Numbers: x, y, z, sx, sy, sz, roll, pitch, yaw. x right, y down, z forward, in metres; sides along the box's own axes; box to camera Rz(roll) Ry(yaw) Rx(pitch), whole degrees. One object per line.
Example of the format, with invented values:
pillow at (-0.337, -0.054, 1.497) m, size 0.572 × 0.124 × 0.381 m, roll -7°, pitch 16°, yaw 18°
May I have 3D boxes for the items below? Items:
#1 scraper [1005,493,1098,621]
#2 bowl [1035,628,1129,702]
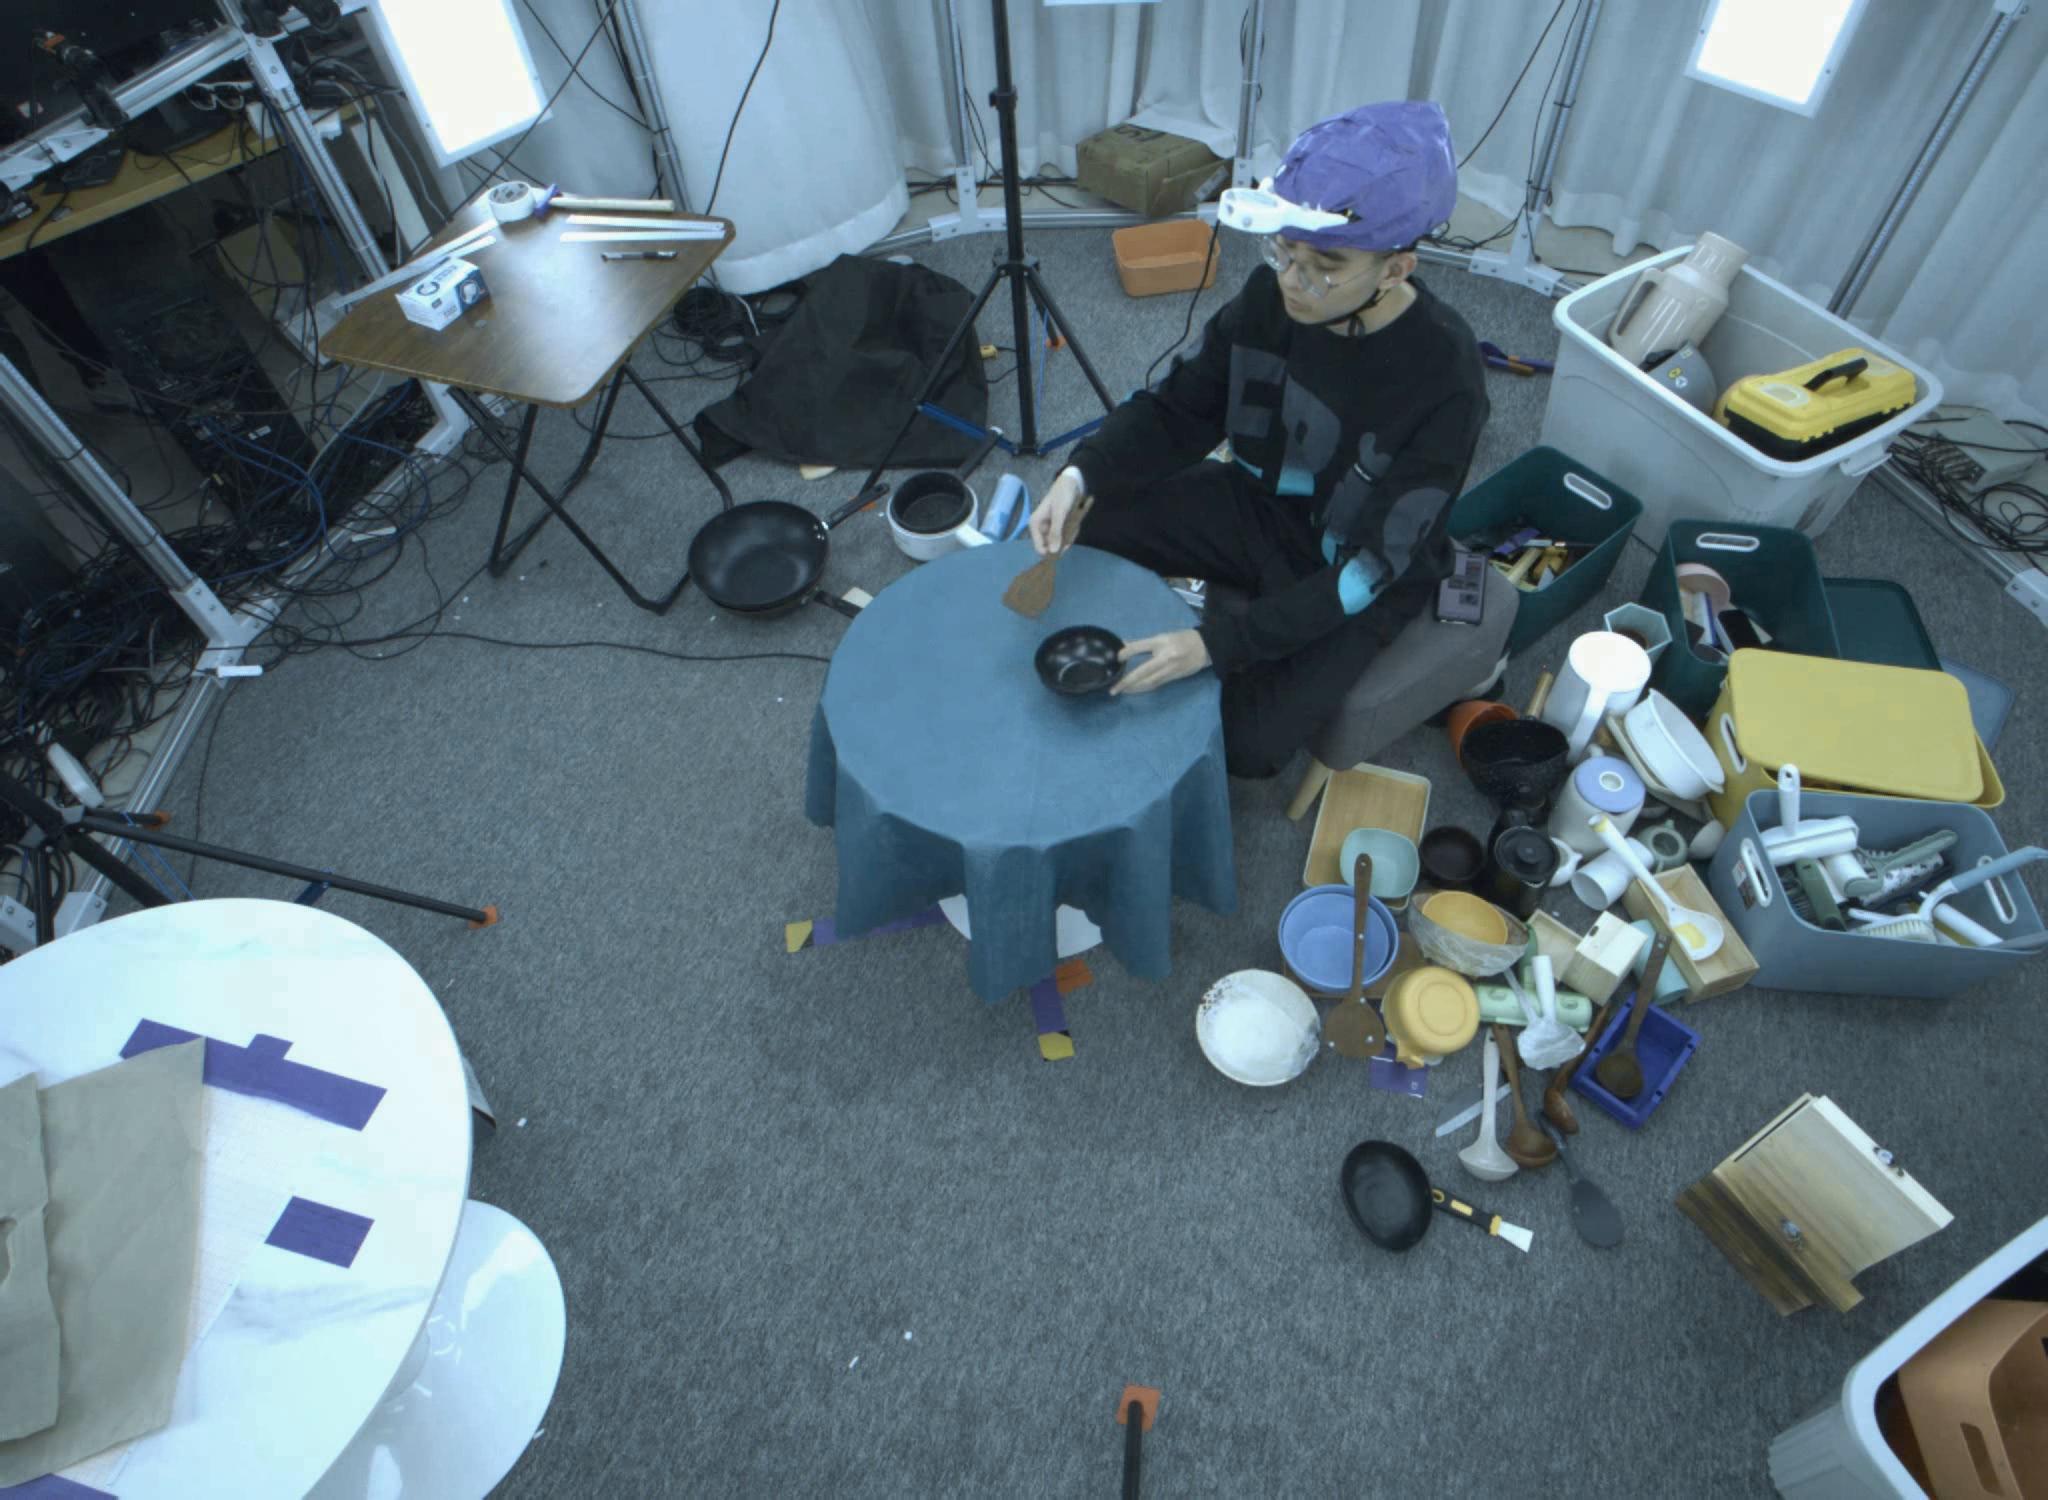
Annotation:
scraper at (0.050, -0.292, 1.836) m, size 0.075 × 0.011 × 0.211 m, roll 29°, pitch 88°, yaw 17°
bowl at (0.088, -0.117, 1.829) m, size 0.139 × 0.050 × 0.138 m, roll -4°, pitch 48°, yaw 6°
